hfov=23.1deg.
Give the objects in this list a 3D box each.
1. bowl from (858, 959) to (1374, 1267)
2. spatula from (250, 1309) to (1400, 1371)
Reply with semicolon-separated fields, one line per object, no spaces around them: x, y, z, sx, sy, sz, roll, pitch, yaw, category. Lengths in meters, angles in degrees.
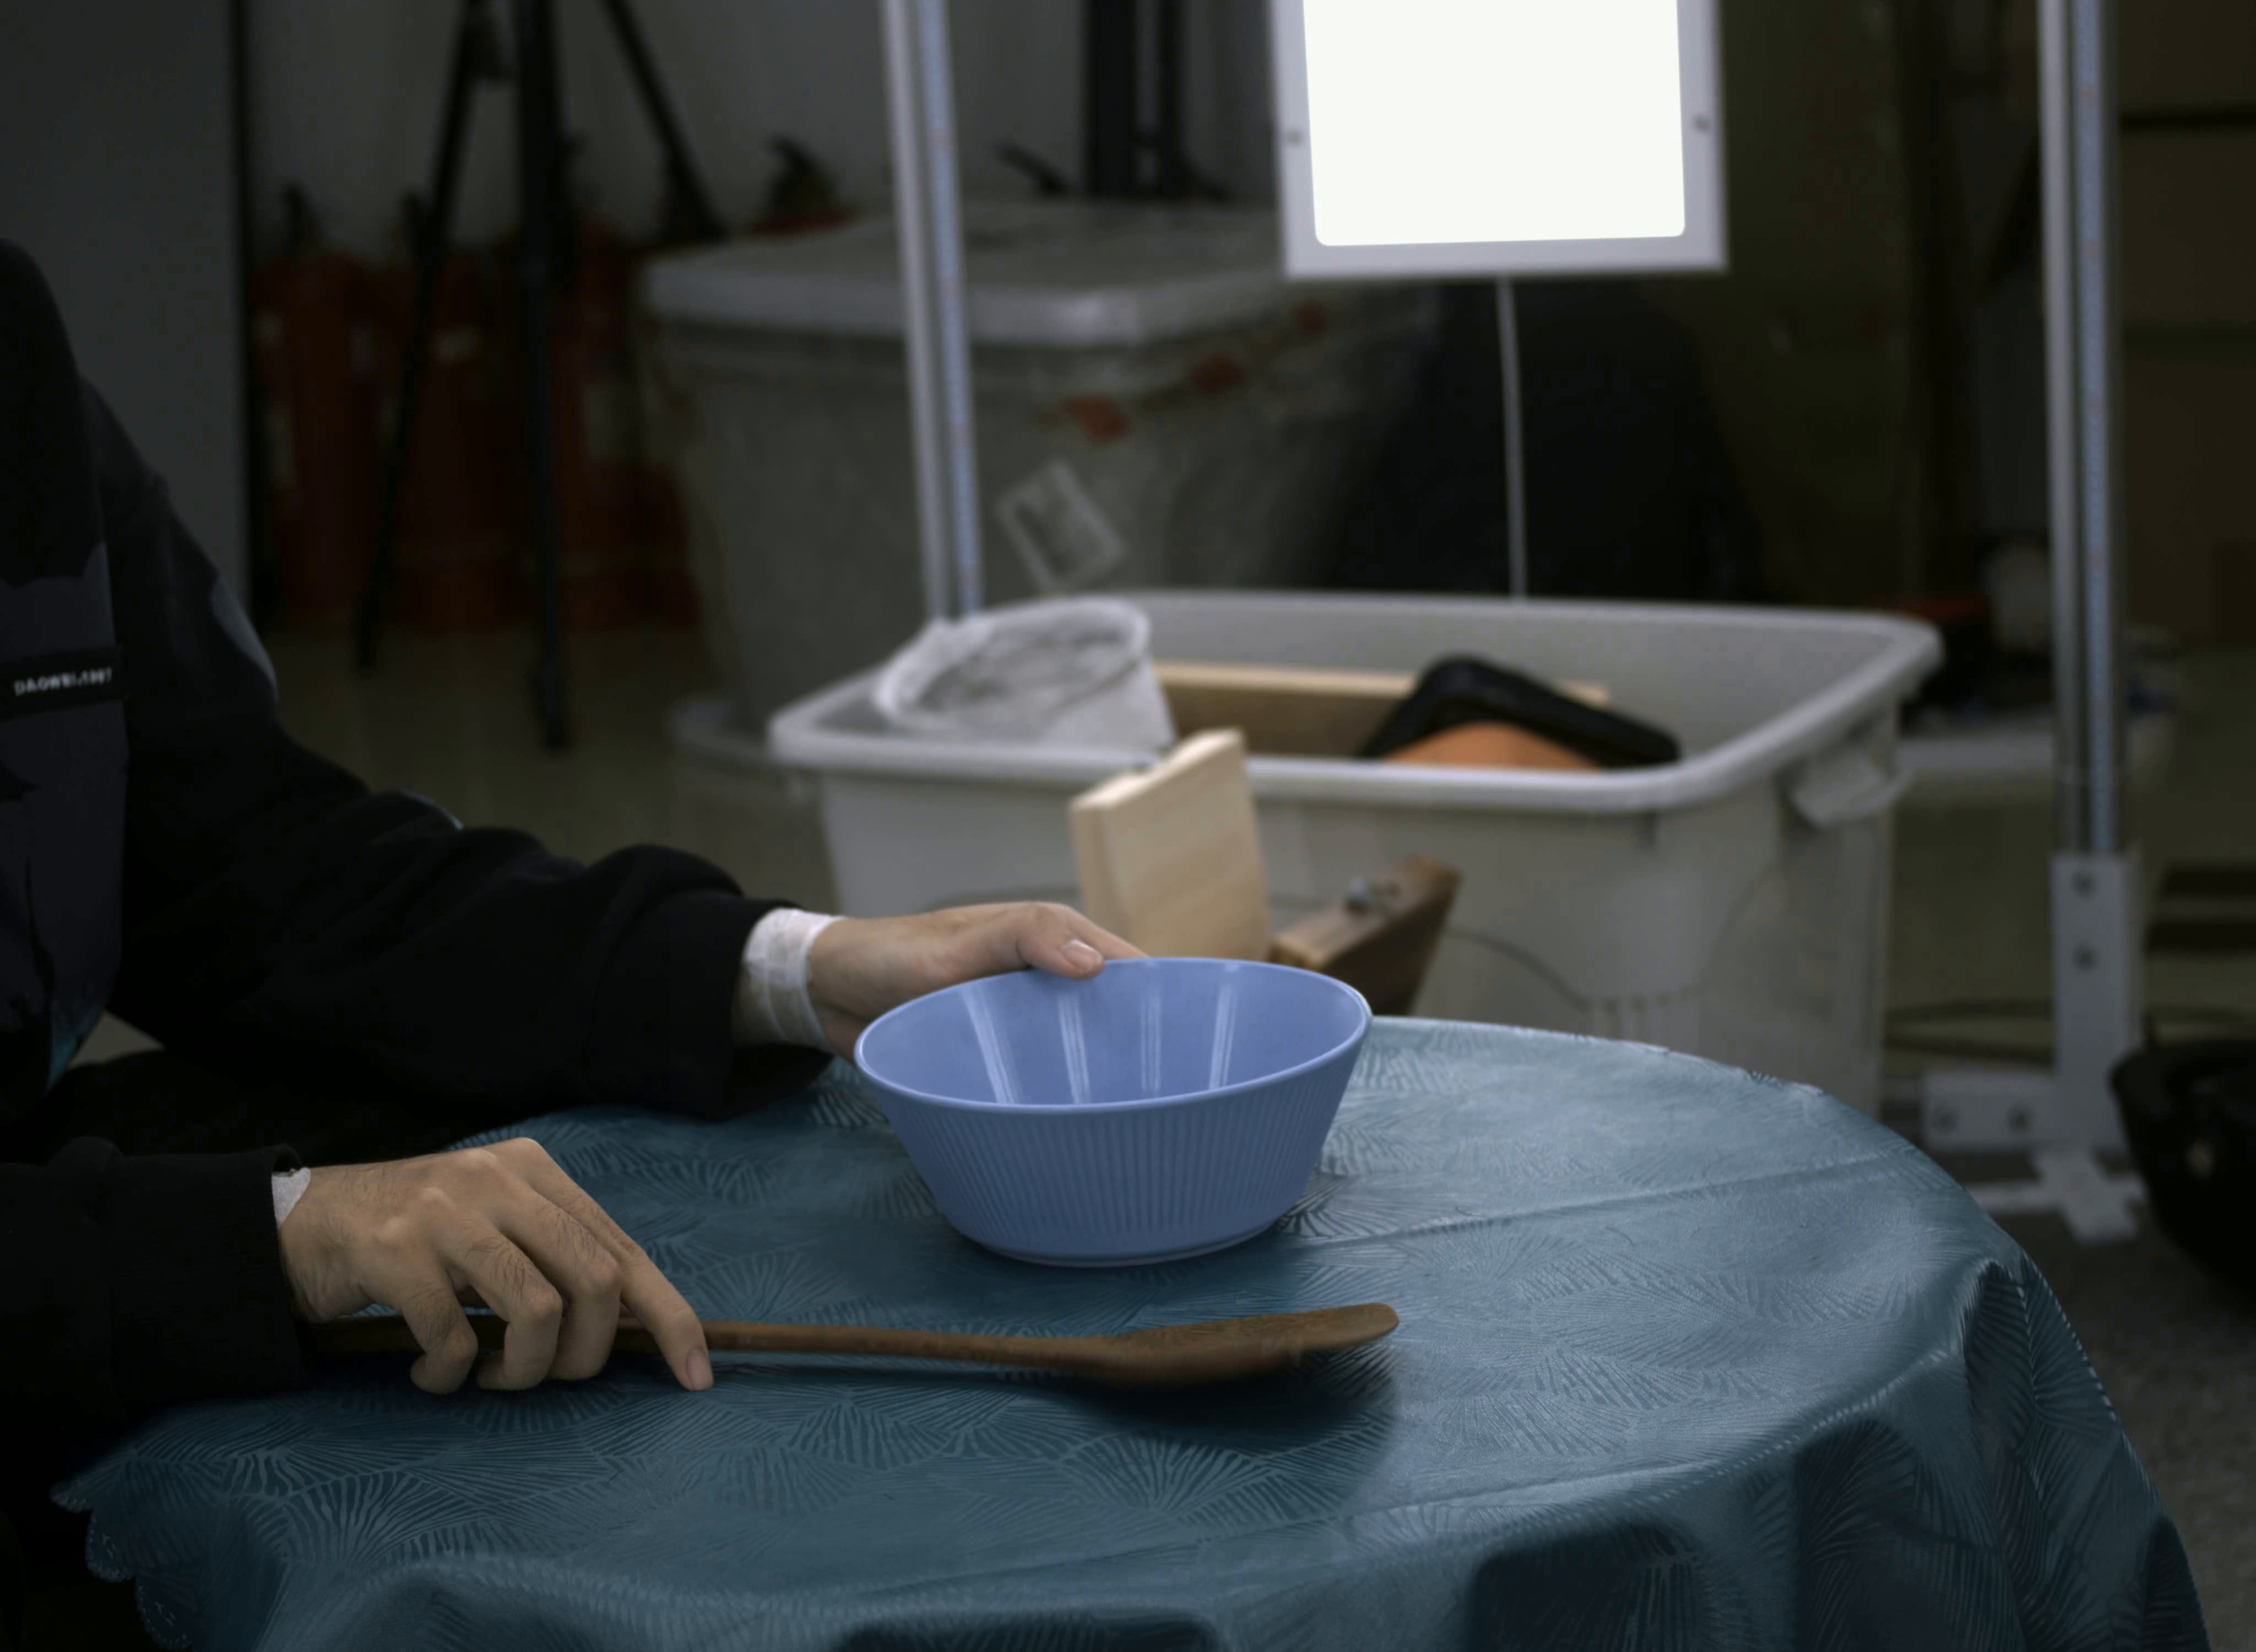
-0.001;0.100;1.861;0.175;0.070;0.176;-6;13;0;bowl
-0.103;0.160;1.743;0.391;0.016;0.094;-1;0;20;spatula
